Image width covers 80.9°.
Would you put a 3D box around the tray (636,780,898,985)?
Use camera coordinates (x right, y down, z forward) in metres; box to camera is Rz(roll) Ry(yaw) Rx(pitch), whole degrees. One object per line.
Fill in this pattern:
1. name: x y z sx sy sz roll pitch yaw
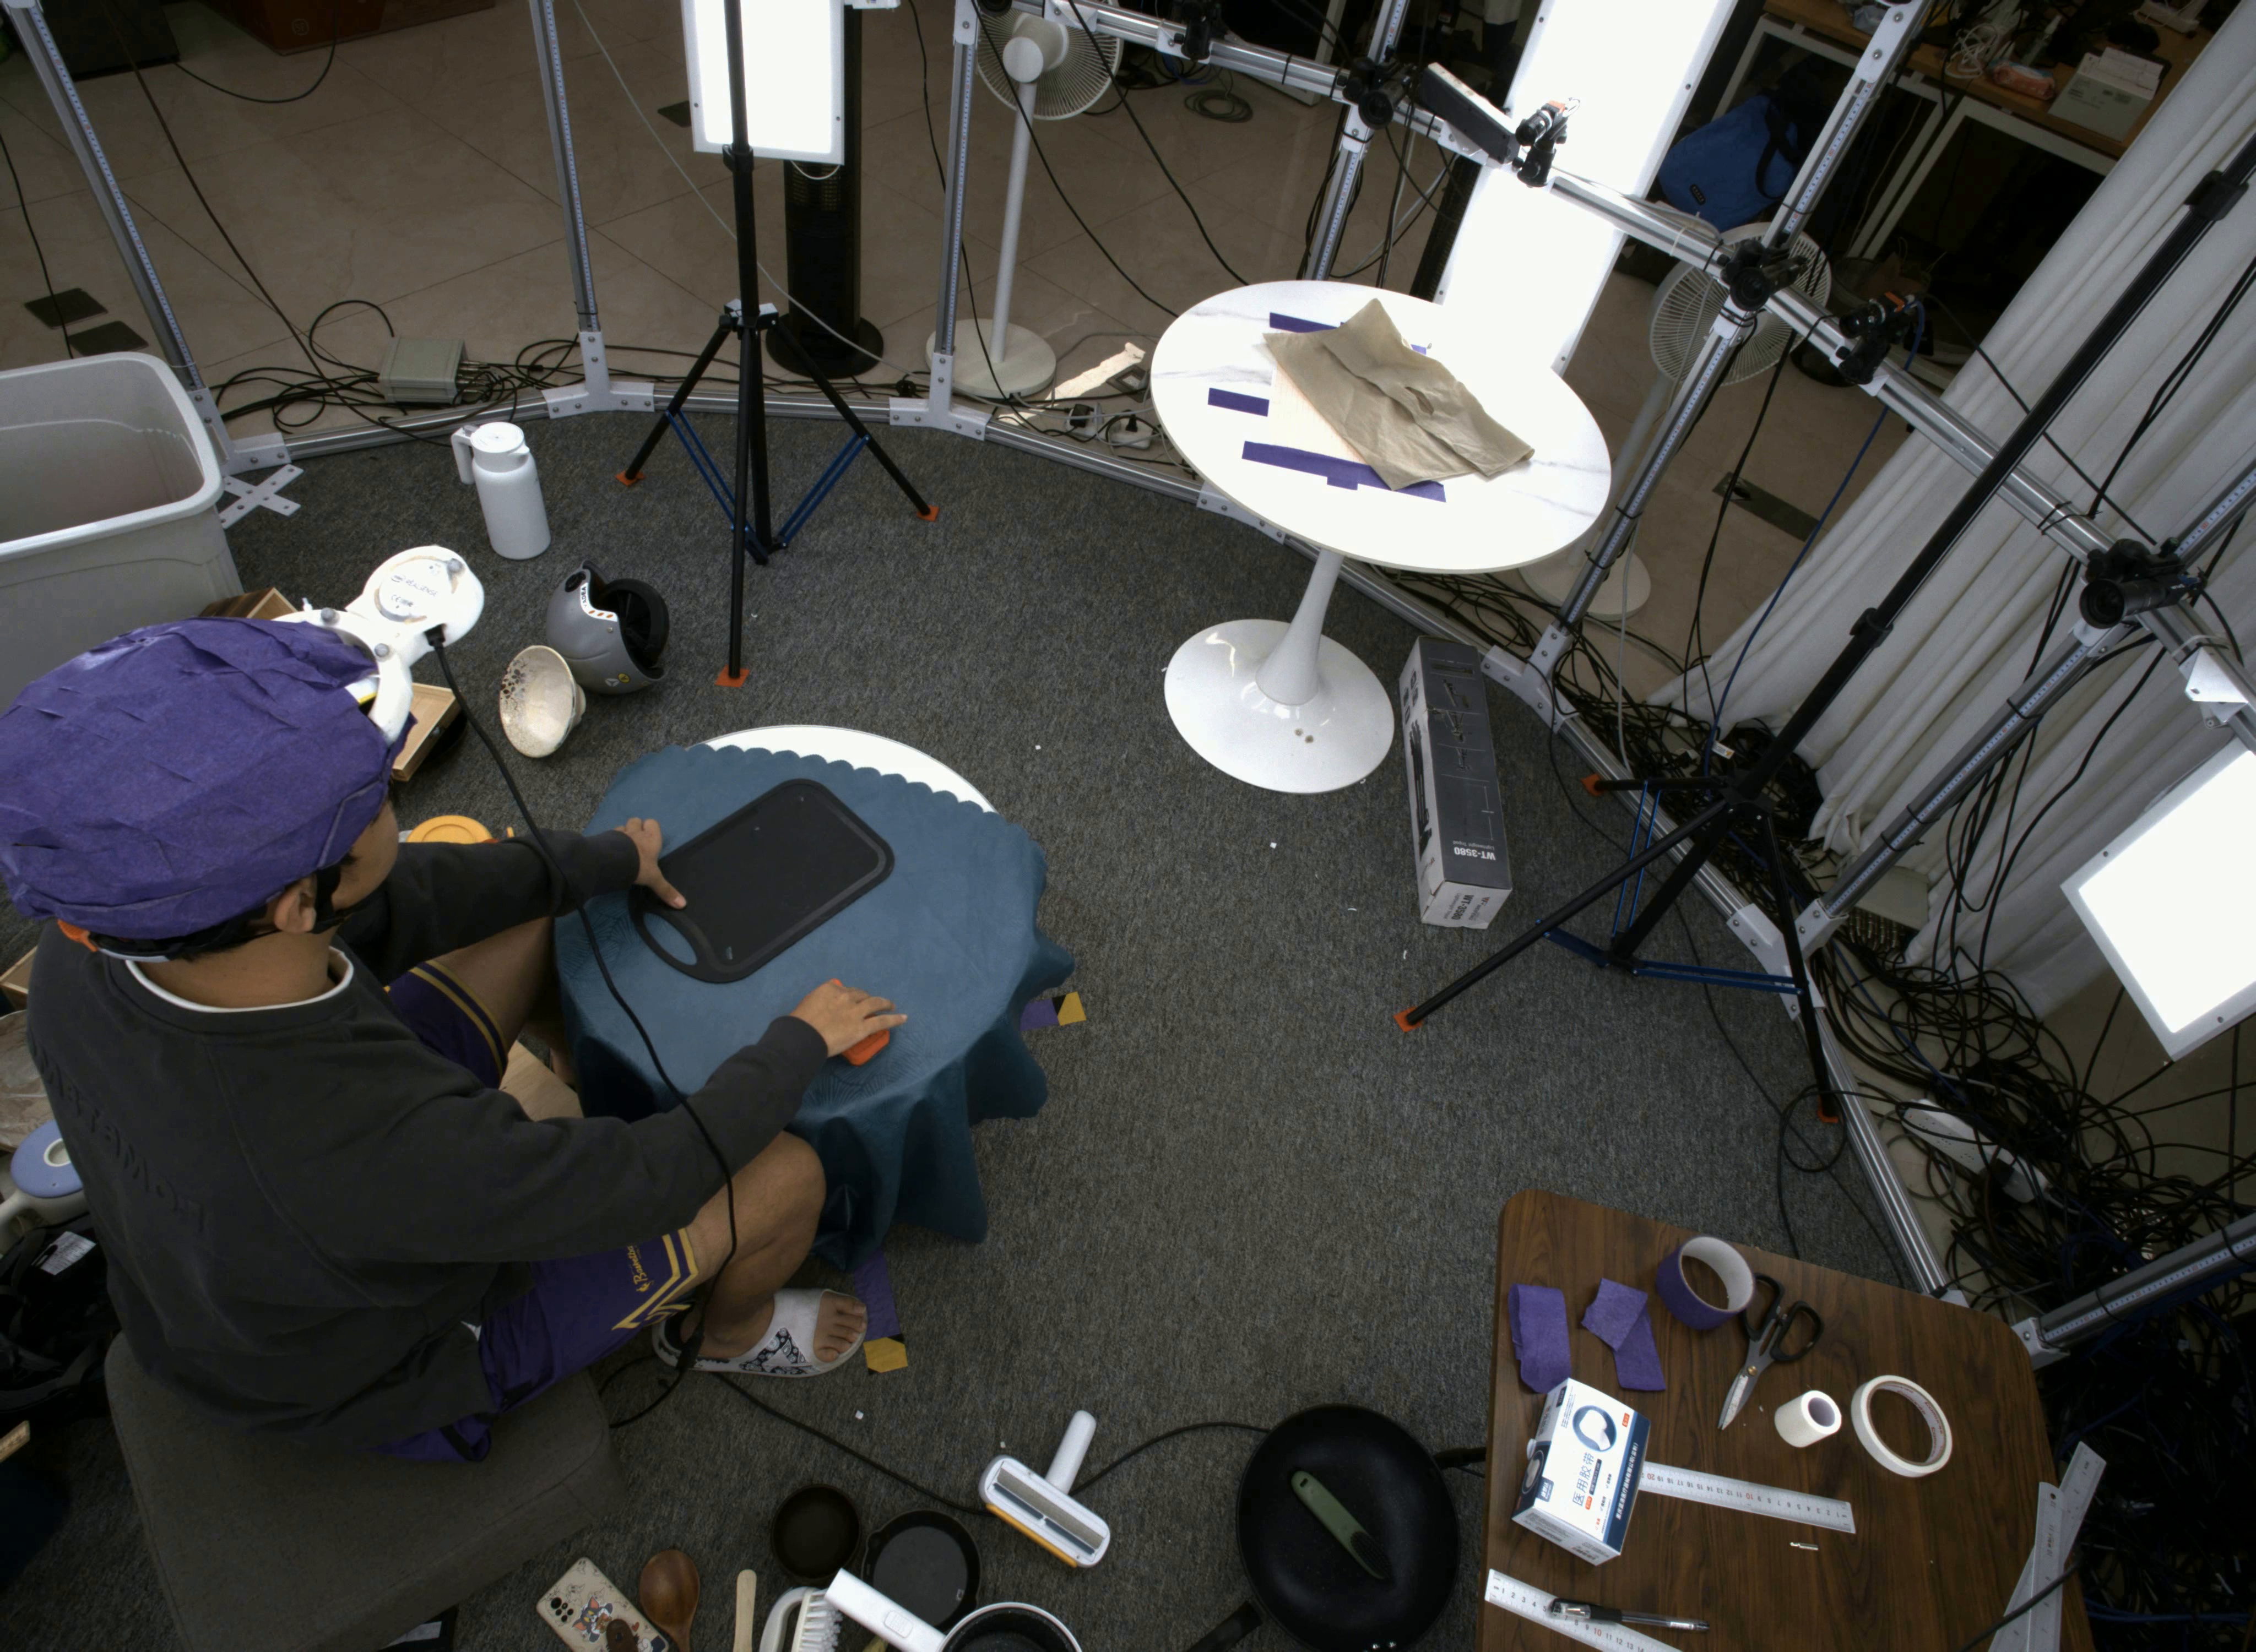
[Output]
1. tray: -0.467 0.067 1.664 0.206 0.010 0.326 41 55 17

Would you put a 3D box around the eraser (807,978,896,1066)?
1. eraser: -0.333 0.232 1.560 0.105 0.023 0.059 40 55 17
